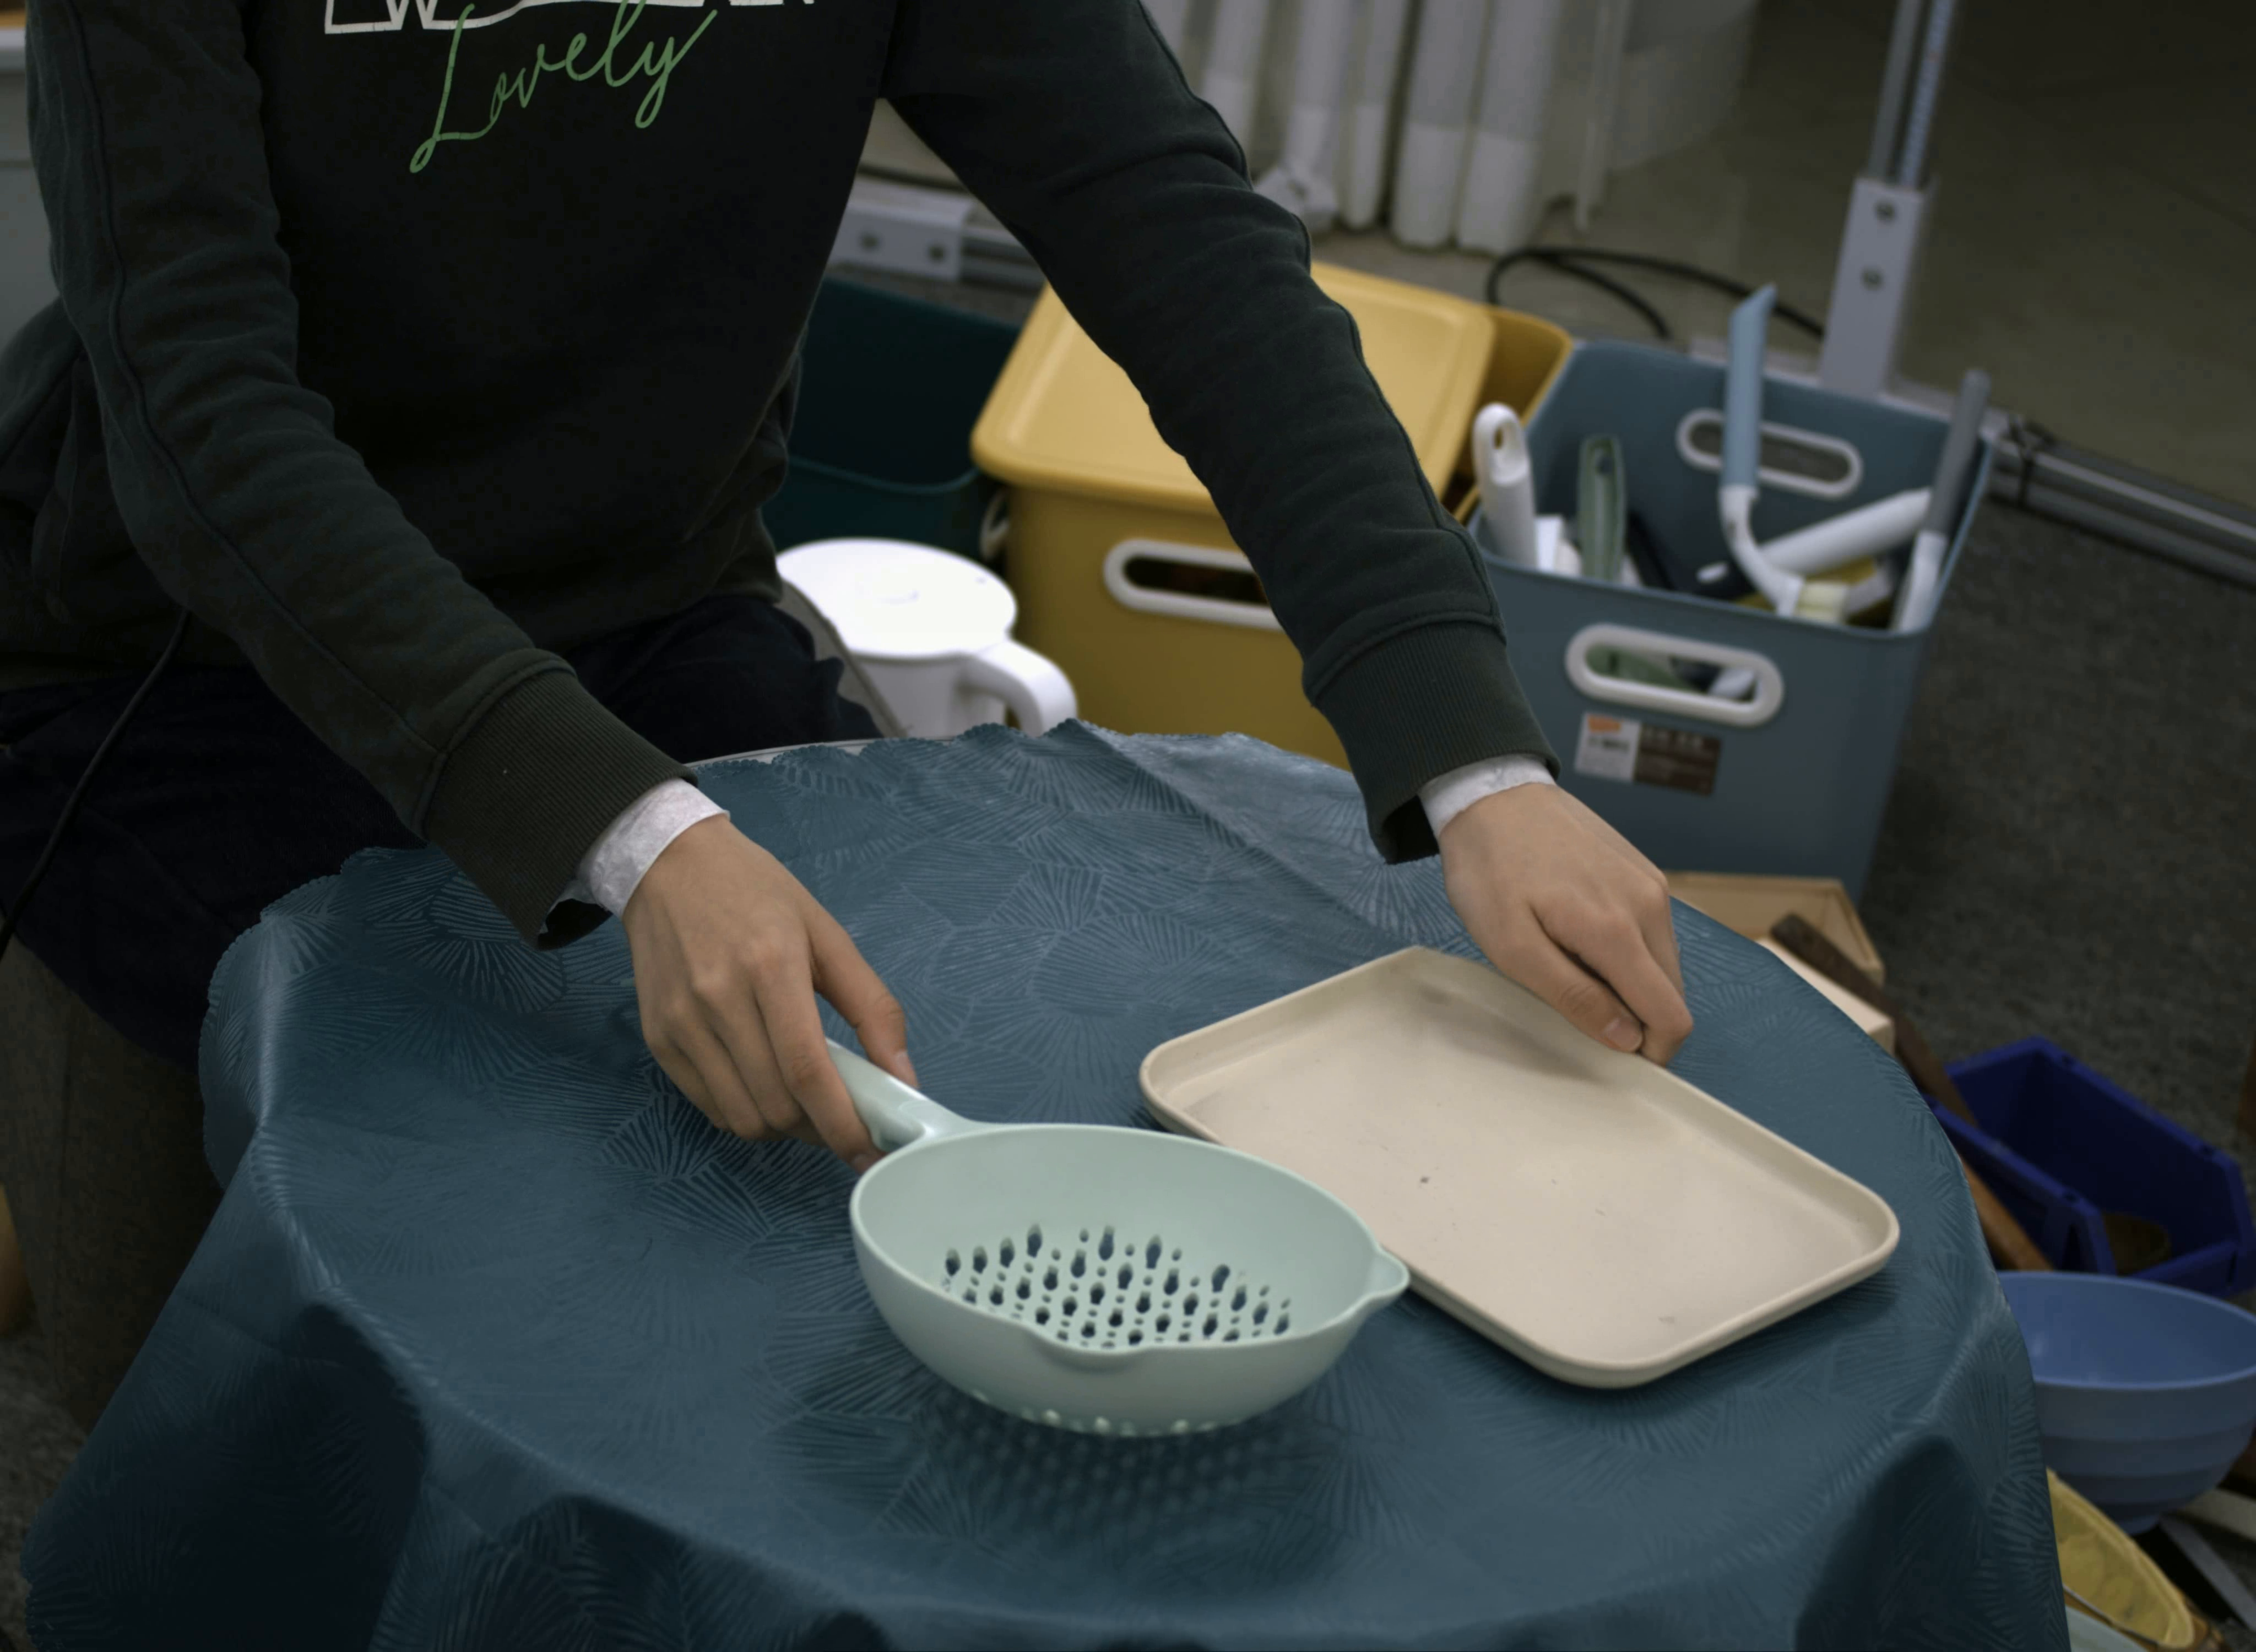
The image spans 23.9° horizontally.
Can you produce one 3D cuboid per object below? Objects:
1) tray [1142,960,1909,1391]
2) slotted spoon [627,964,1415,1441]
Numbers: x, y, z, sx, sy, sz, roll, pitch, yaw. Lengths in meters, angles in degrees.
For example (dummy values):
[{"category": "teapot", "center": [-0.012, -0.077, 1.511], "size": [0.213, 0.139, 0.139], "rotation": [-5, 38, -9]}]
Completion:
[{"category": "tray", "center": [0.133, 0.118, 1.819], "size": [0.170, 0.017, 0.241], "rotation": [-20, 36, -39]}, {"category": "slotted spoon", "center": [-0.063, 0.107, 1.741], "size": [0.168, 0.075, 0.362], "rotation": [-6, 30, -37]}]
